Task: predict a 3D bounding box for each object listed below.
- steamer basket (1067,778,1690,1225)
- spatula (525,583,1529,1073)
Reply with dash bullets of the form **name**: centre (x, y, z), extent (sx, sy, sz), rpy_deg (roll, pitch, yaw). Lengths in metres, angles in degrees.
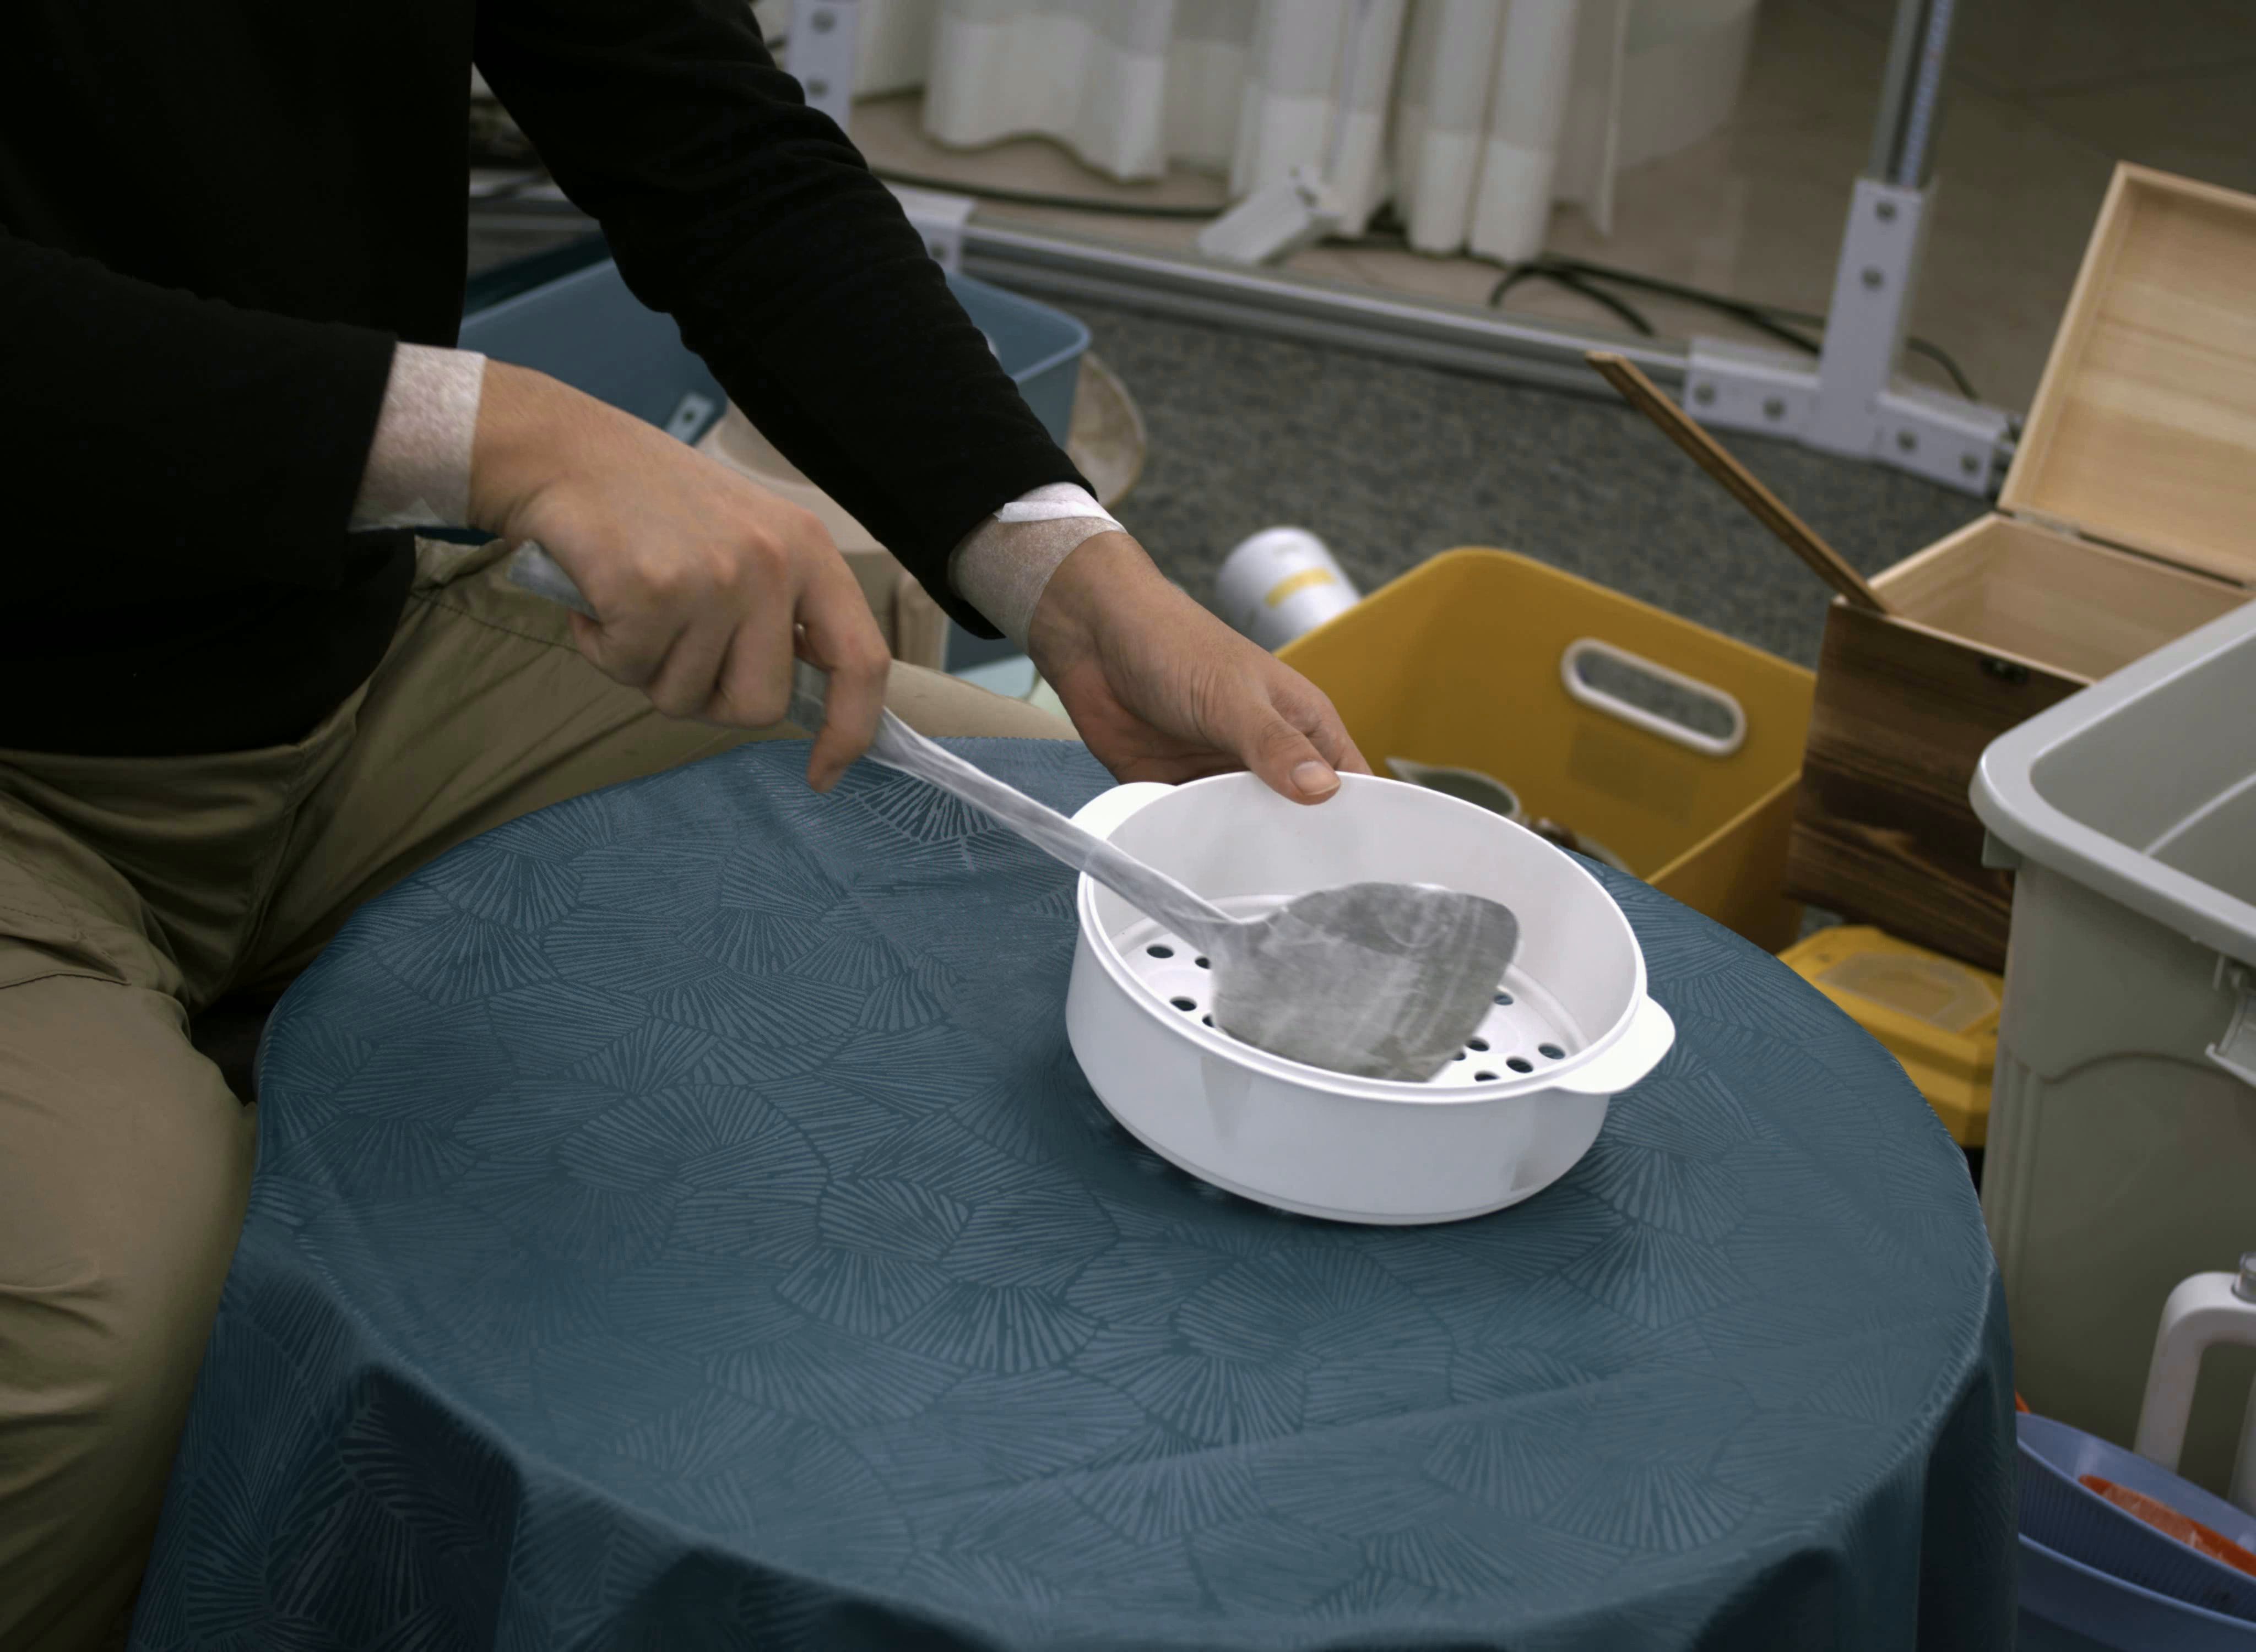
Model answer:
- **steamer basket**: centre (0.081, 0.062, 1.854), extent (0.231, 0.069, 0.201), rpy_deg (24, 33, 23)
- **spatula**: centre (-0.034, -0.004, 1.779), extent (0.363, 0.098, 0.045), rpy_deg (28, 24, -11)
